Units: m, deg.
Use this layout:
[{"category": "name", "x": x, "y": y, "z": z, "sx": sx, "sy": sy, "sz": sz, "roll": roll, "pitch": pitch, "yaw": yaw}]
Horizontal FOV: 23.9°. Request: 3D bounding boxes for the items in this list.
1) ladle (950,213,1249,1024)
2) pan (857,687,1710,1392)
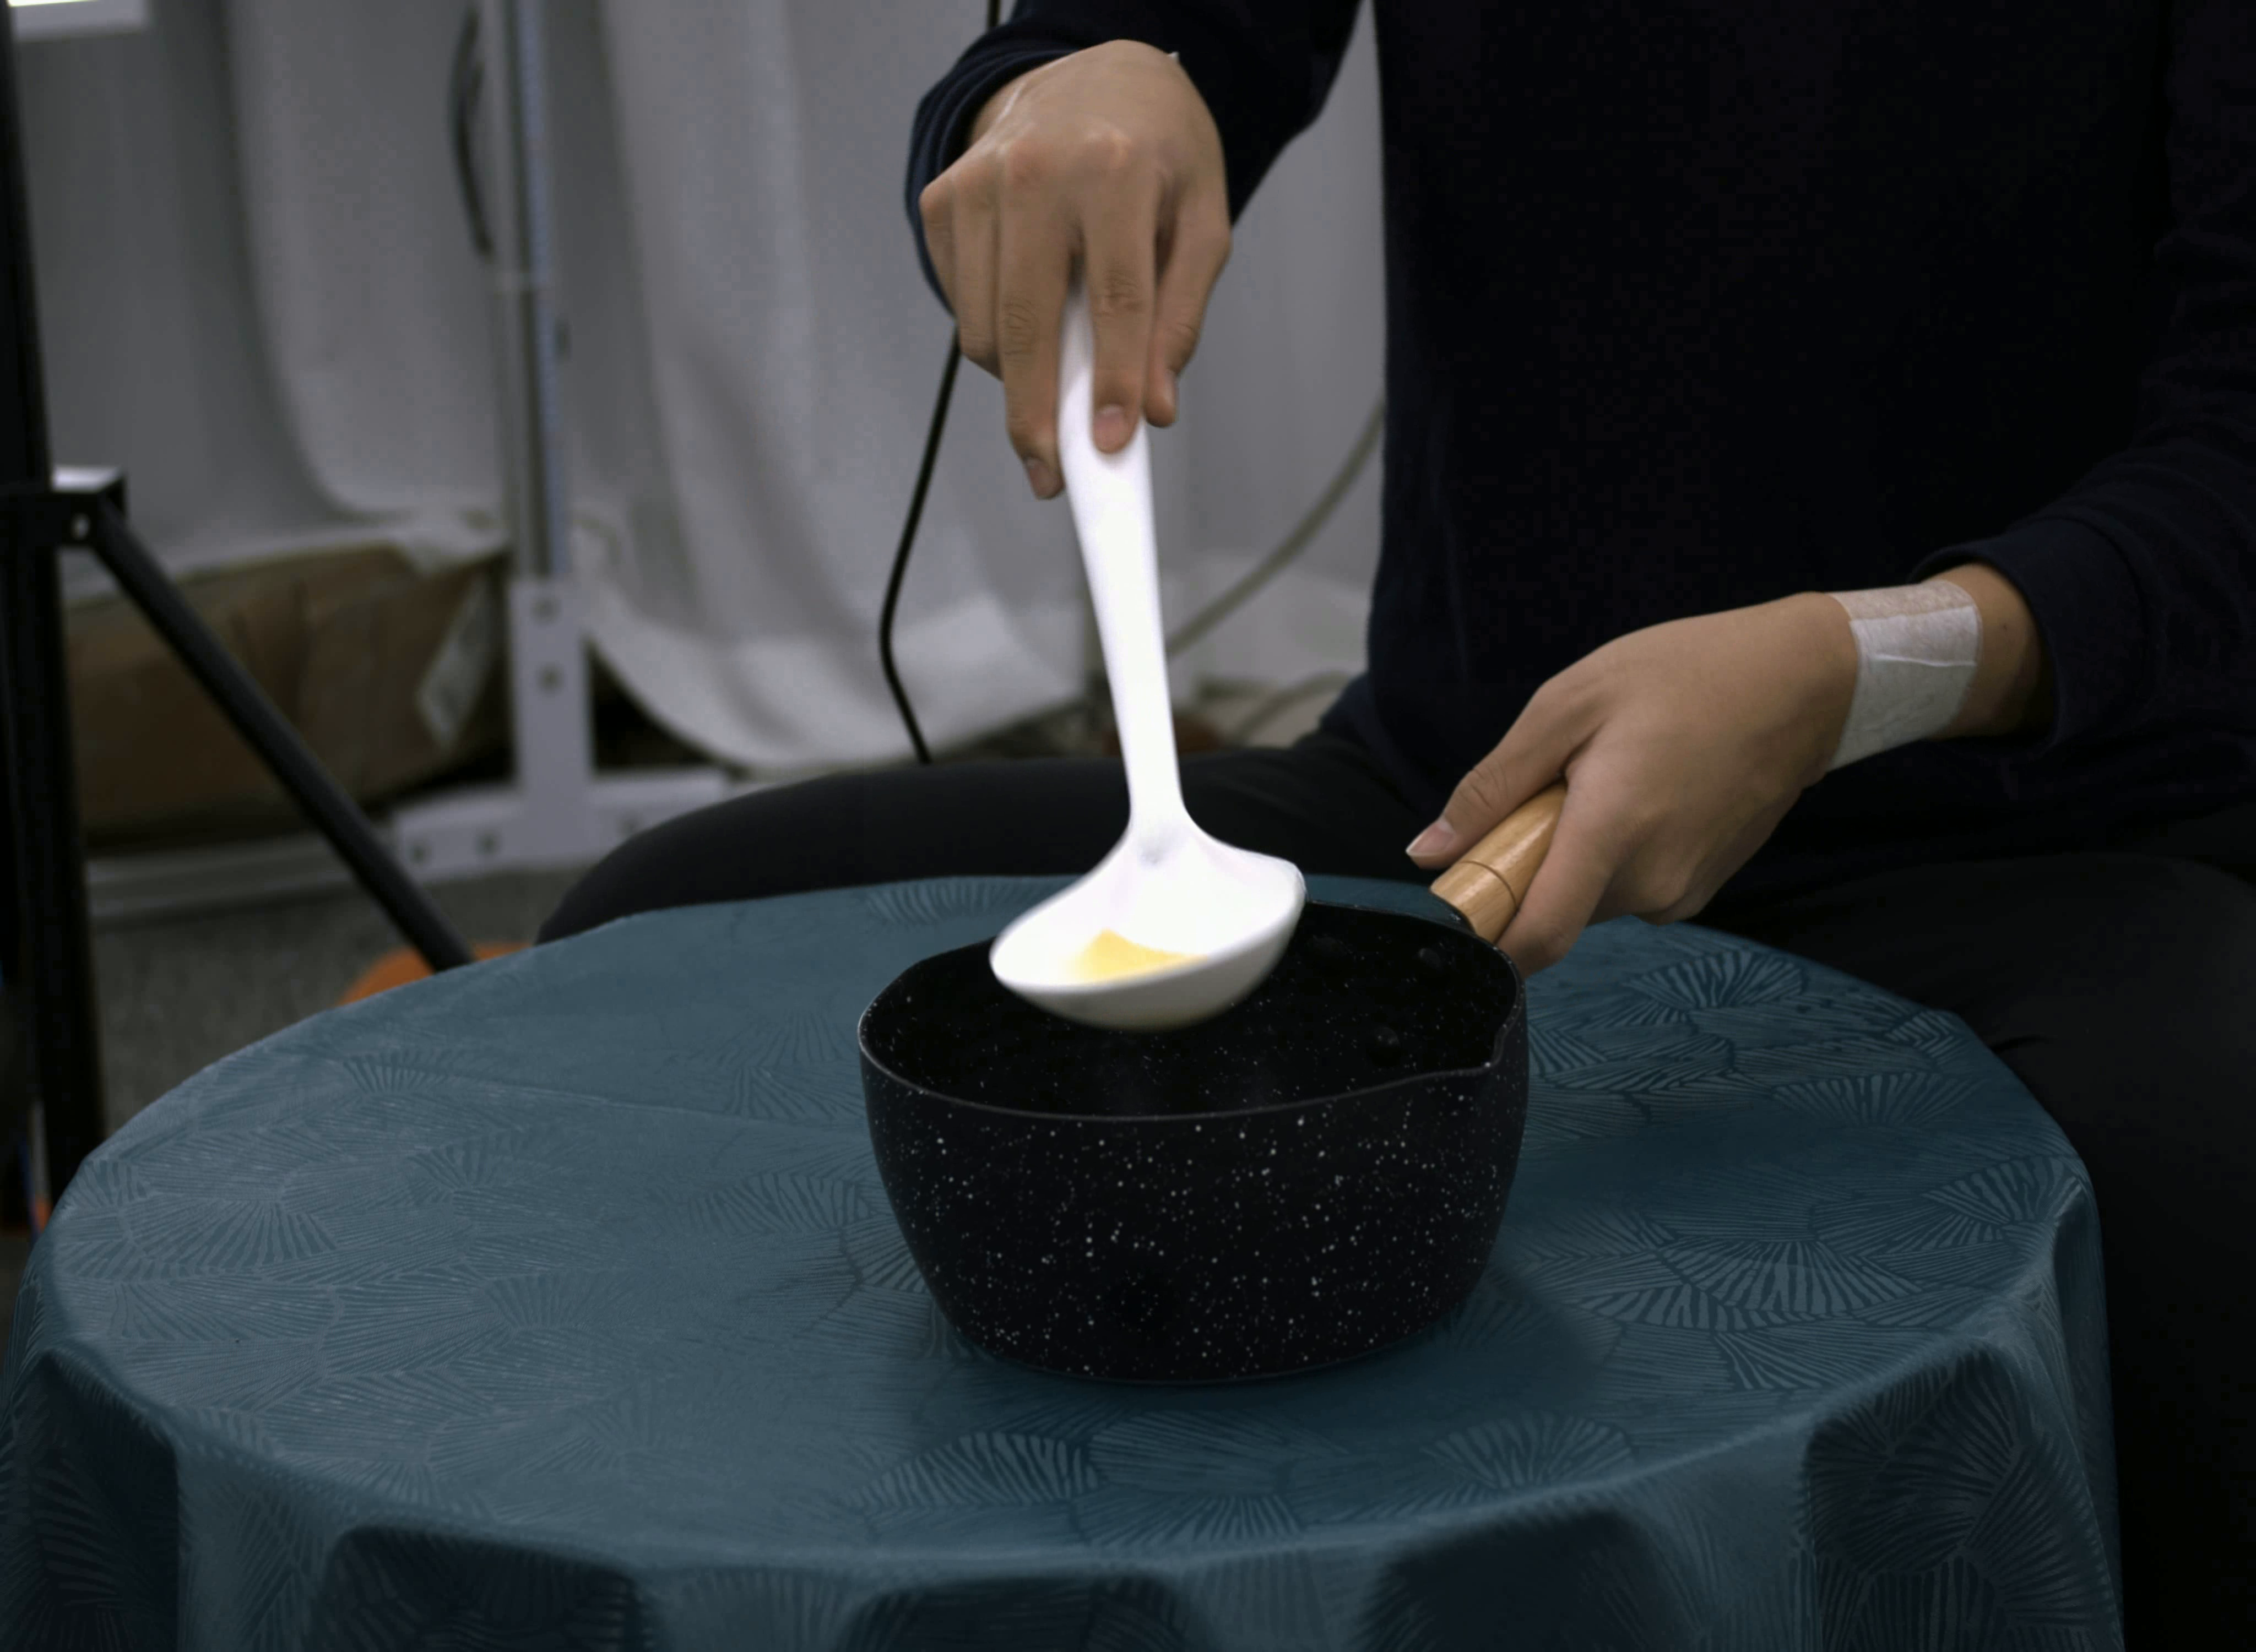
[{"category": "ladle", "x": -0.015, "y": -0.066, "z": 1.530, "sx": 0.091, "sy": 0.068, "sz": 0.297, "roll": -19, "pitch": 54, "yaw": 18}, {"category": "pan", "x": 0.067, "y": 0.056, "z": 1.517, "sx": 0.212, "sy": 0.108, "sz": 0.336, "roll": 8, "pitch": 22, "yaw": 38}]
